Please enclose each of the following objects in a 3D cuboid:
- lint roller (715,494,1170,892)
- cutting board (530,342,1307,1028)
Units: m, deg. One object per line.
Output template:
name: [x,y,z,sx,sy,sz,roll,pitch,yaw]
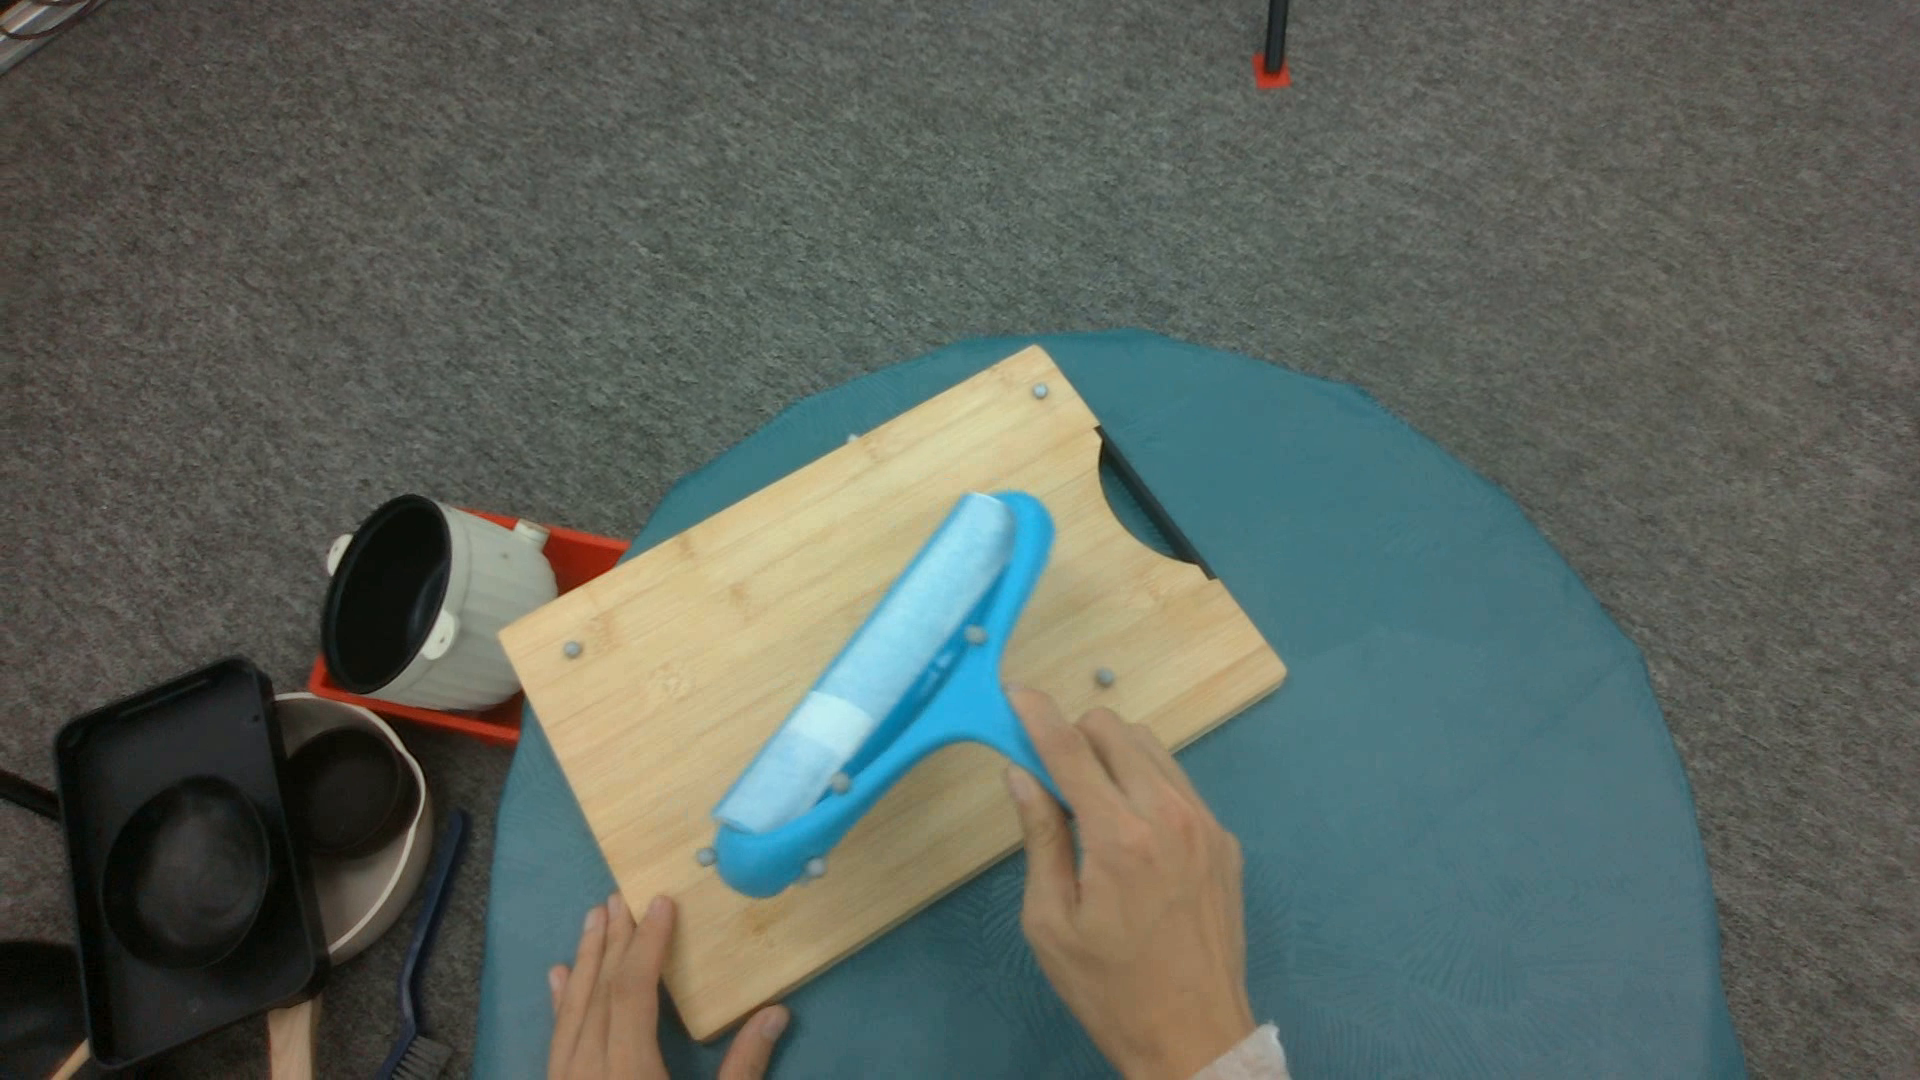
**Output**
lint roller: [0.012,0.084,0.613,0.180,0.068,0.230,22,63,35]
cutting board: [-0.029,0.060,0.737,0.349,0.023,0.251,-30,67,-11]
